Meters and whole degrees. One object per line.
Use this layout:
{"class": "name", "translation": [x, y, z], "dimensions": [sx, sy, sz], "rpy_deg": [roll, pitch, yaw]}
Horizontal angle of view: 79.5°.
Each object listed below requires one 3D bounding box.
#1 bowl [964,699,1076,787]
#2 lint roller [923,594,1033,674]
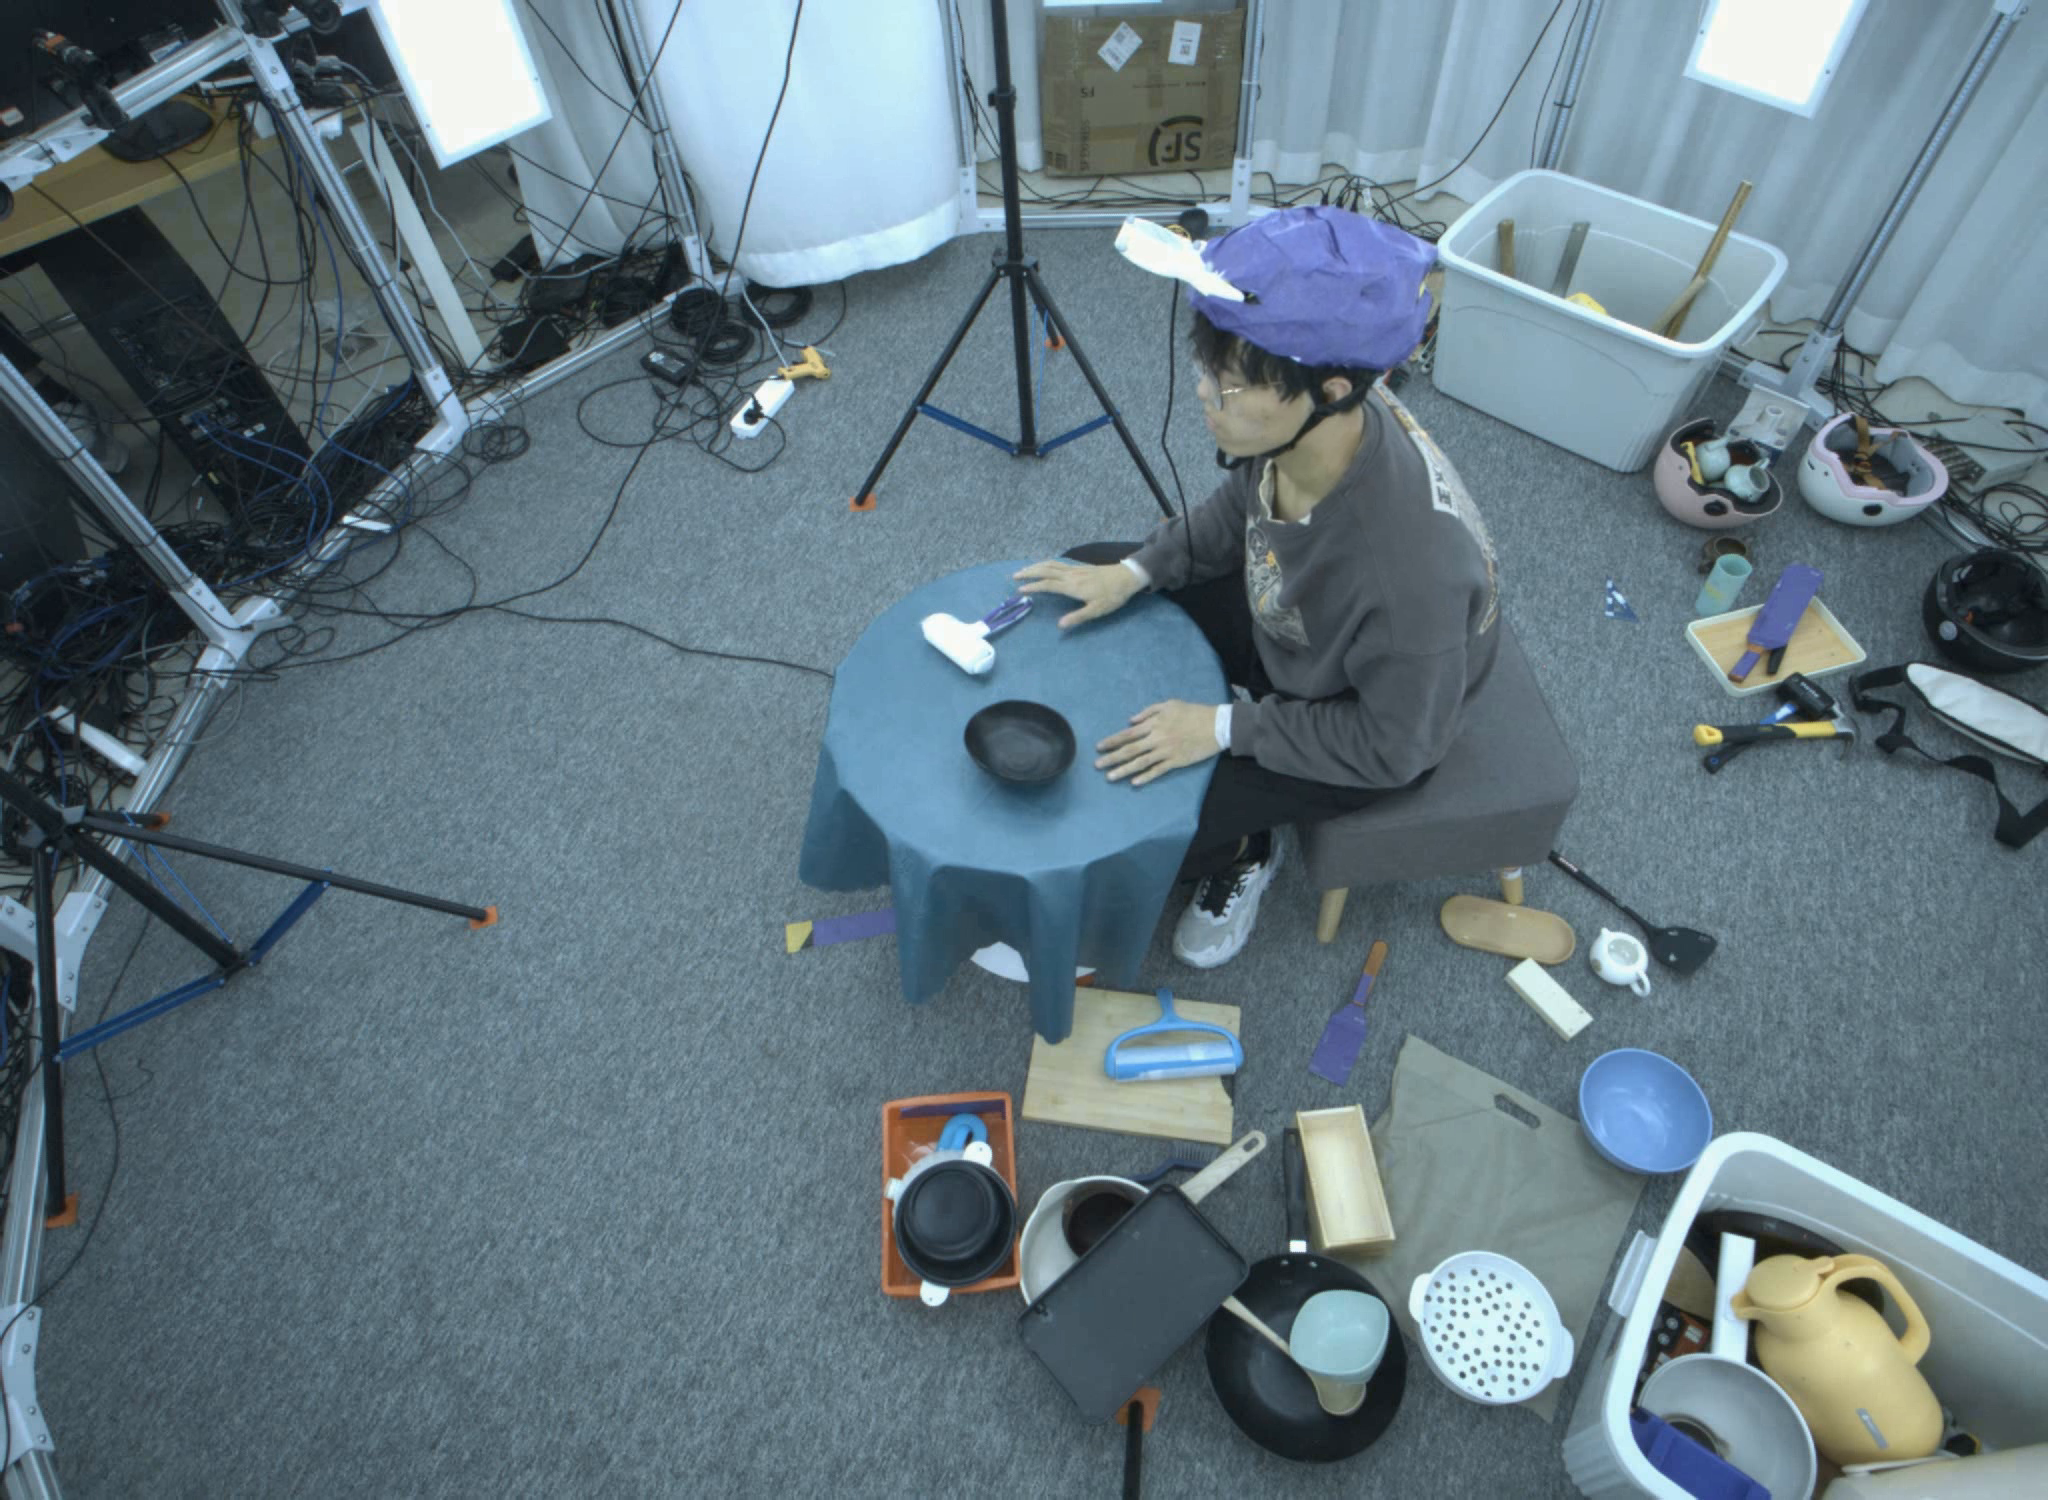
{"class": "bowl", "translation": [-0.006, 0.001, 1.746], "dimensions": [0.168, 0.067, 0.138], "rpy_deg": [24, 58, 20]}
{"class": "lint roller", "translation": [-0.055, -0.199, 1.900], "dimensions": [0.182, 0.051, 0.130], "rpy_deg": [-38, 61, -20]}
